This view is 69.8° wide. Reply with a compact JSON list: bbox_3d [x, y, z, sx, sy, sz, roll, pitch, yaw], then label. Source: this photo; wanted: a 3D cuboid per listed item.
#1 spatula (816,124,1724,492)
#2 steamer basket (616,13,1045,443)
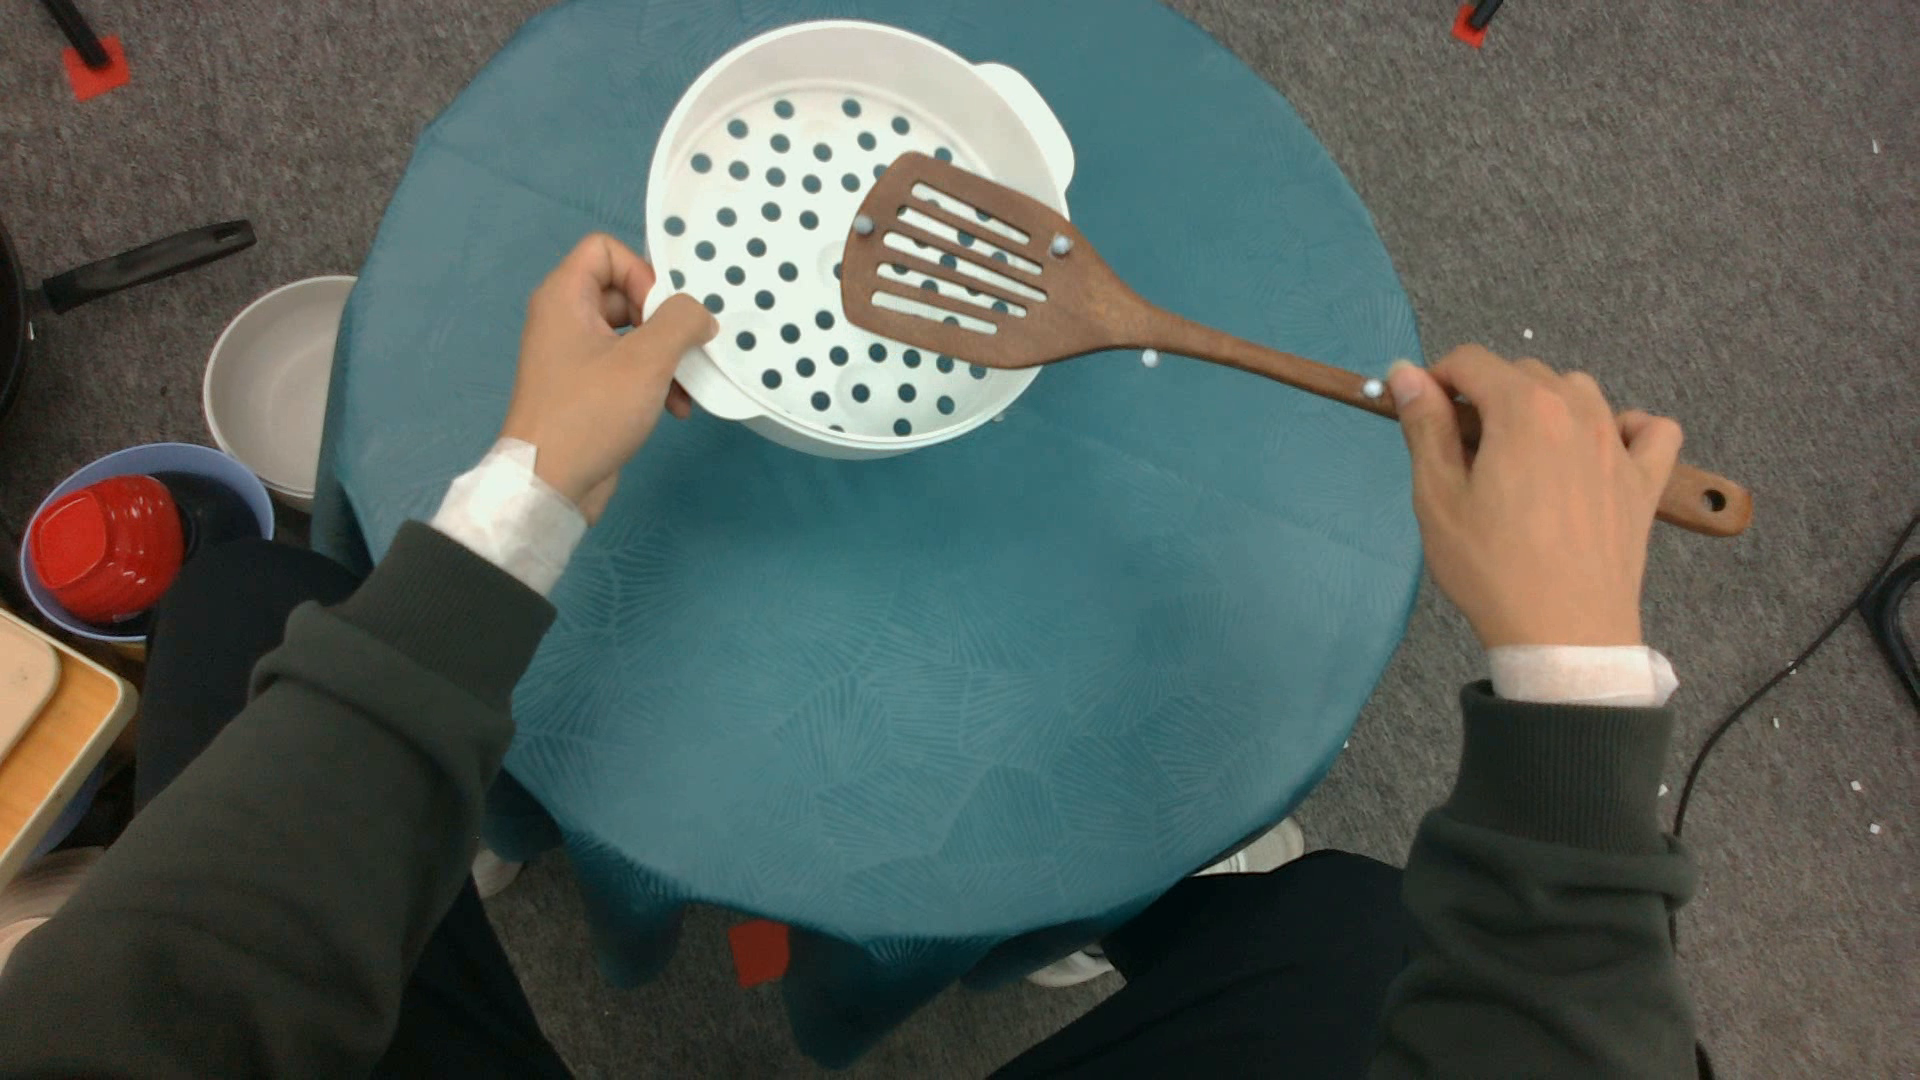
[{"bbox_3d":[0.124,-0.088,0.582,0.385,0.023,0.086,18,87,10],"label":"spatula"},{"bbox_3d":[-0.063,-0.146,0.666,0.231,0.069,0.202,-41,95,-16],"label":"steamer basket"}]
